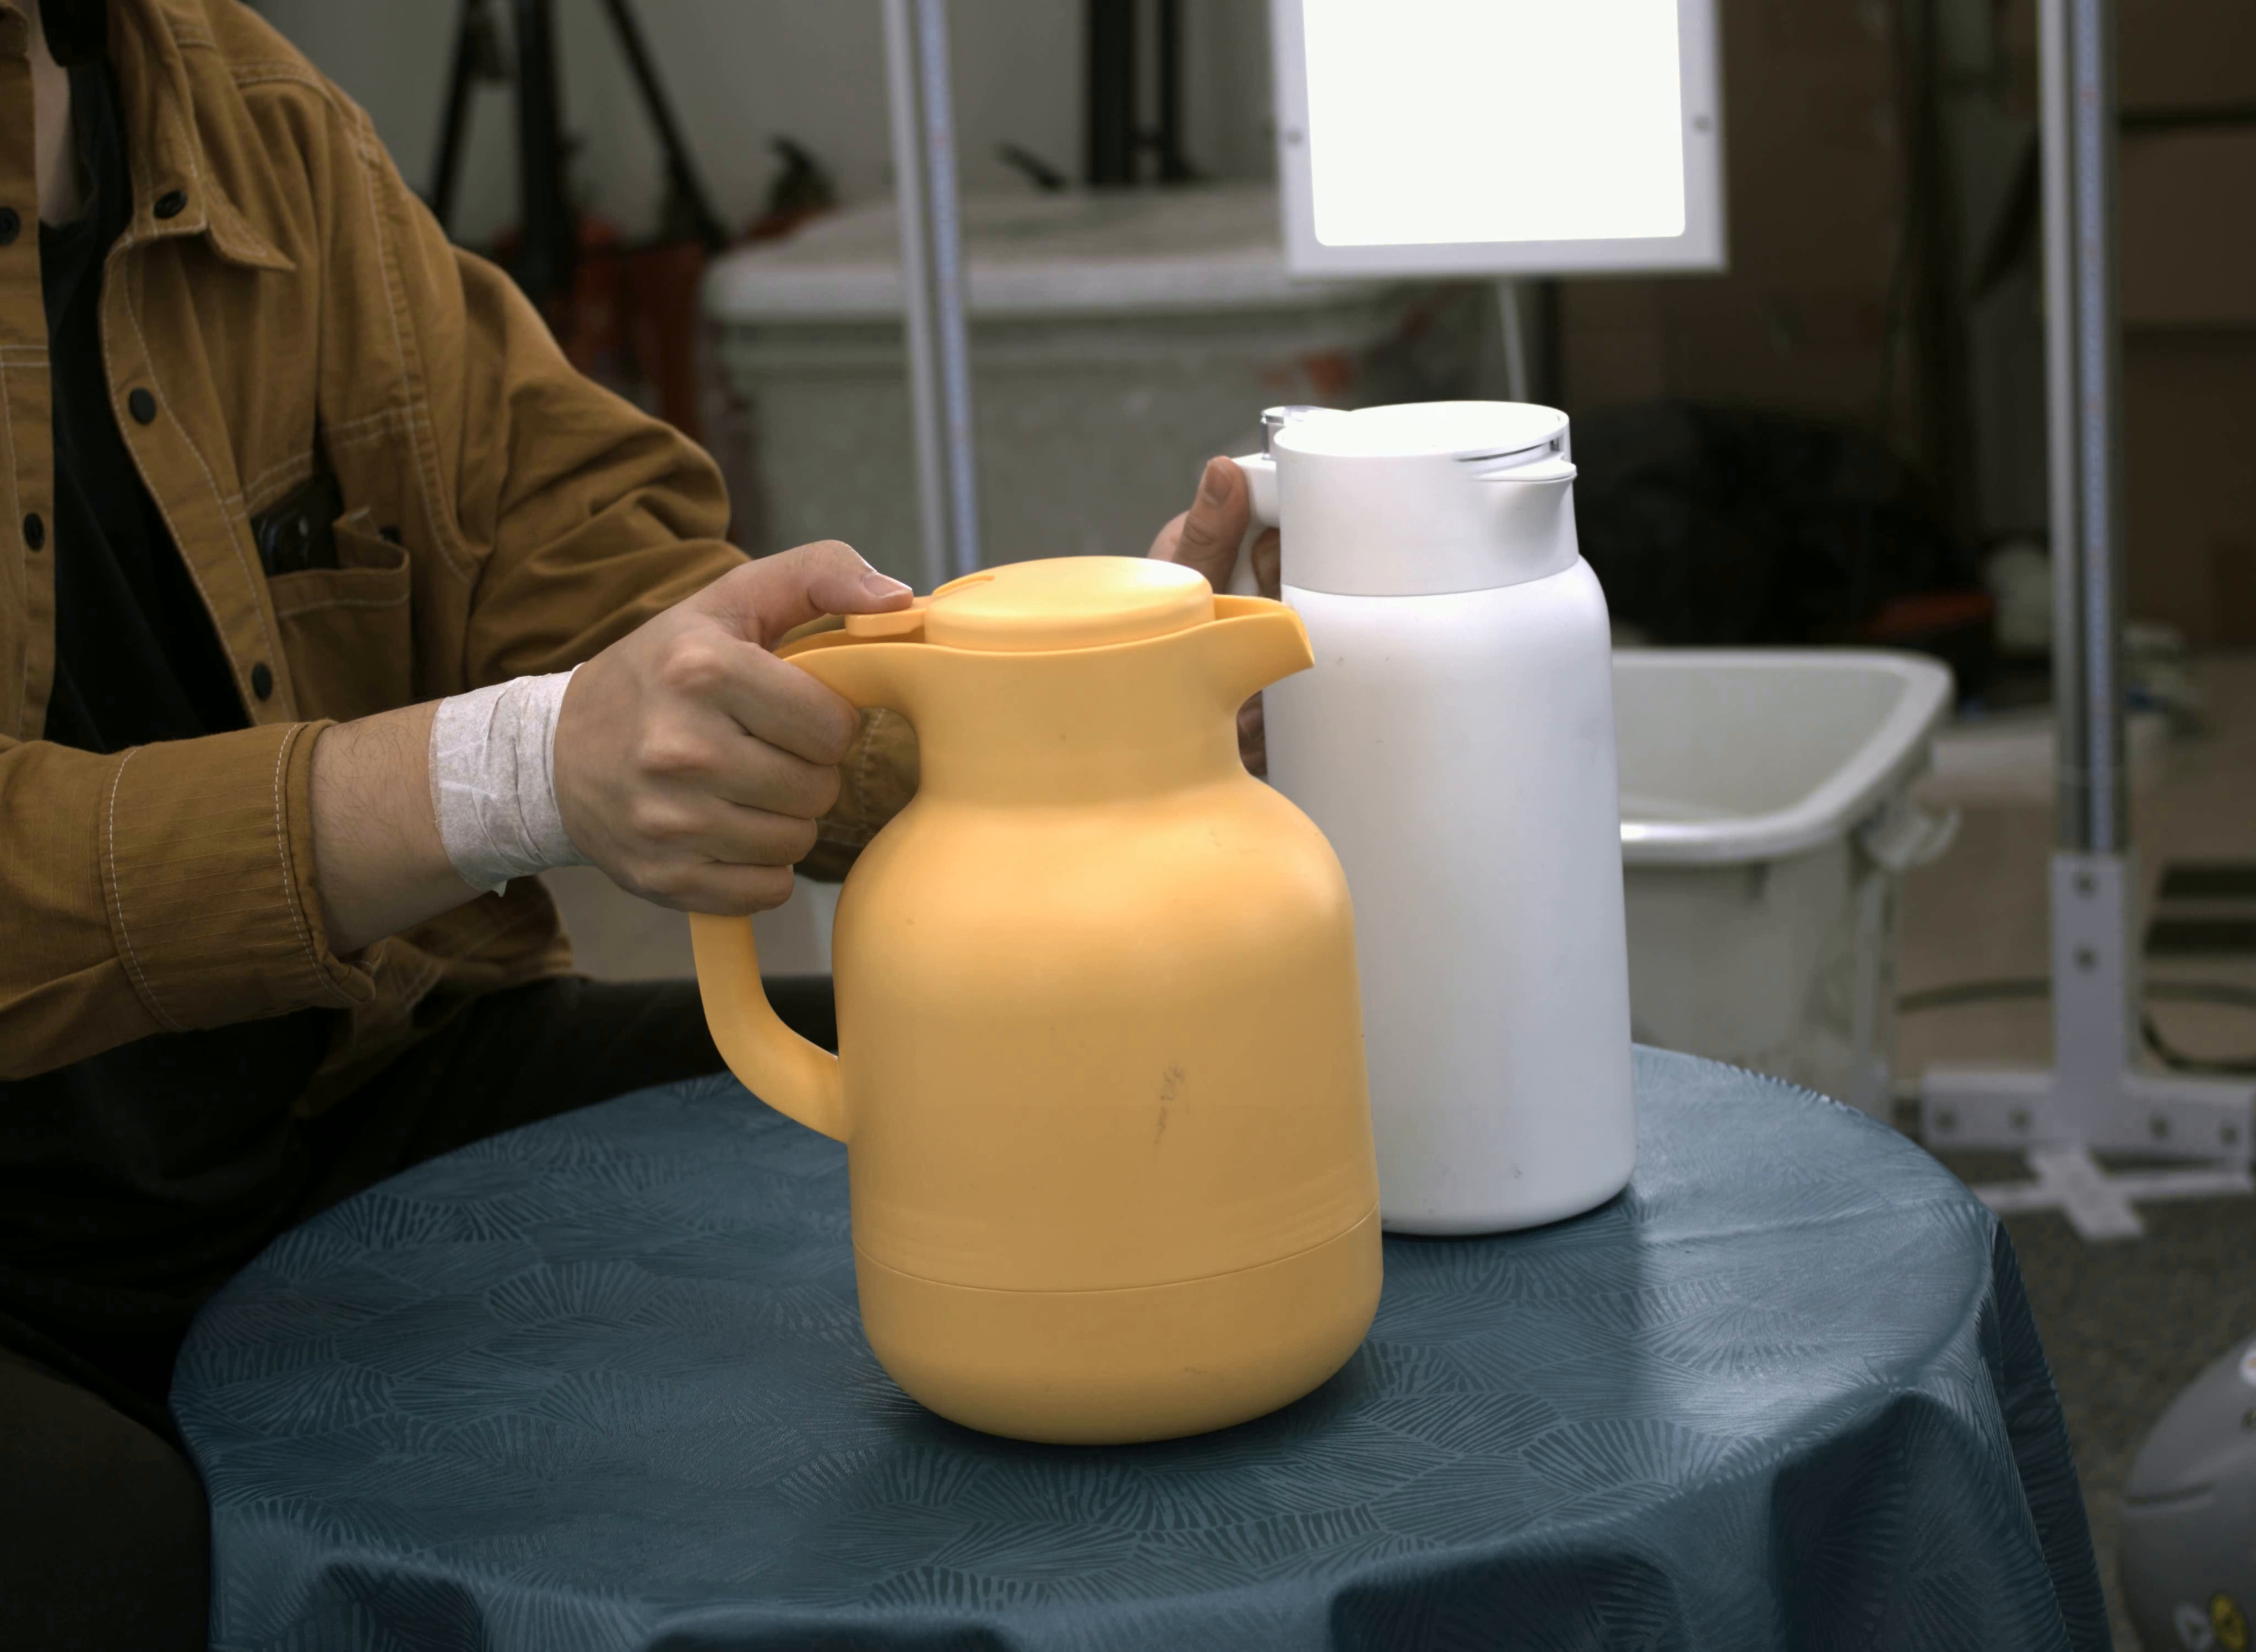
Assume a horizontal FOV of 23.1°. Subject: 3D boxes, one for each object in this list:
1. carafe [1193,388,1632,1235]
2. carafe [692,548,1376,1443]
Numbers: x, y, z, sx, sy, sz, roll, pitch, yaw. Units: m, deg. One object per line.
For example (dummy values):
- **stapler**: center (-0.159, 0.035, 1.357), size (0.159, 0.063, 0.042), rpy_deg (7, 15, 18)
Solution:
- **carafe**: center (0.093, -0.007, 1.847), size (0.121, 0.270, 0.176), rpy_deg (-18, 19, -37)
- **carafe**: center (-0.029, 0.048, 1.678), size (0.203, 0.261, 0.162), rpy_deg (-2, 11, 6)
